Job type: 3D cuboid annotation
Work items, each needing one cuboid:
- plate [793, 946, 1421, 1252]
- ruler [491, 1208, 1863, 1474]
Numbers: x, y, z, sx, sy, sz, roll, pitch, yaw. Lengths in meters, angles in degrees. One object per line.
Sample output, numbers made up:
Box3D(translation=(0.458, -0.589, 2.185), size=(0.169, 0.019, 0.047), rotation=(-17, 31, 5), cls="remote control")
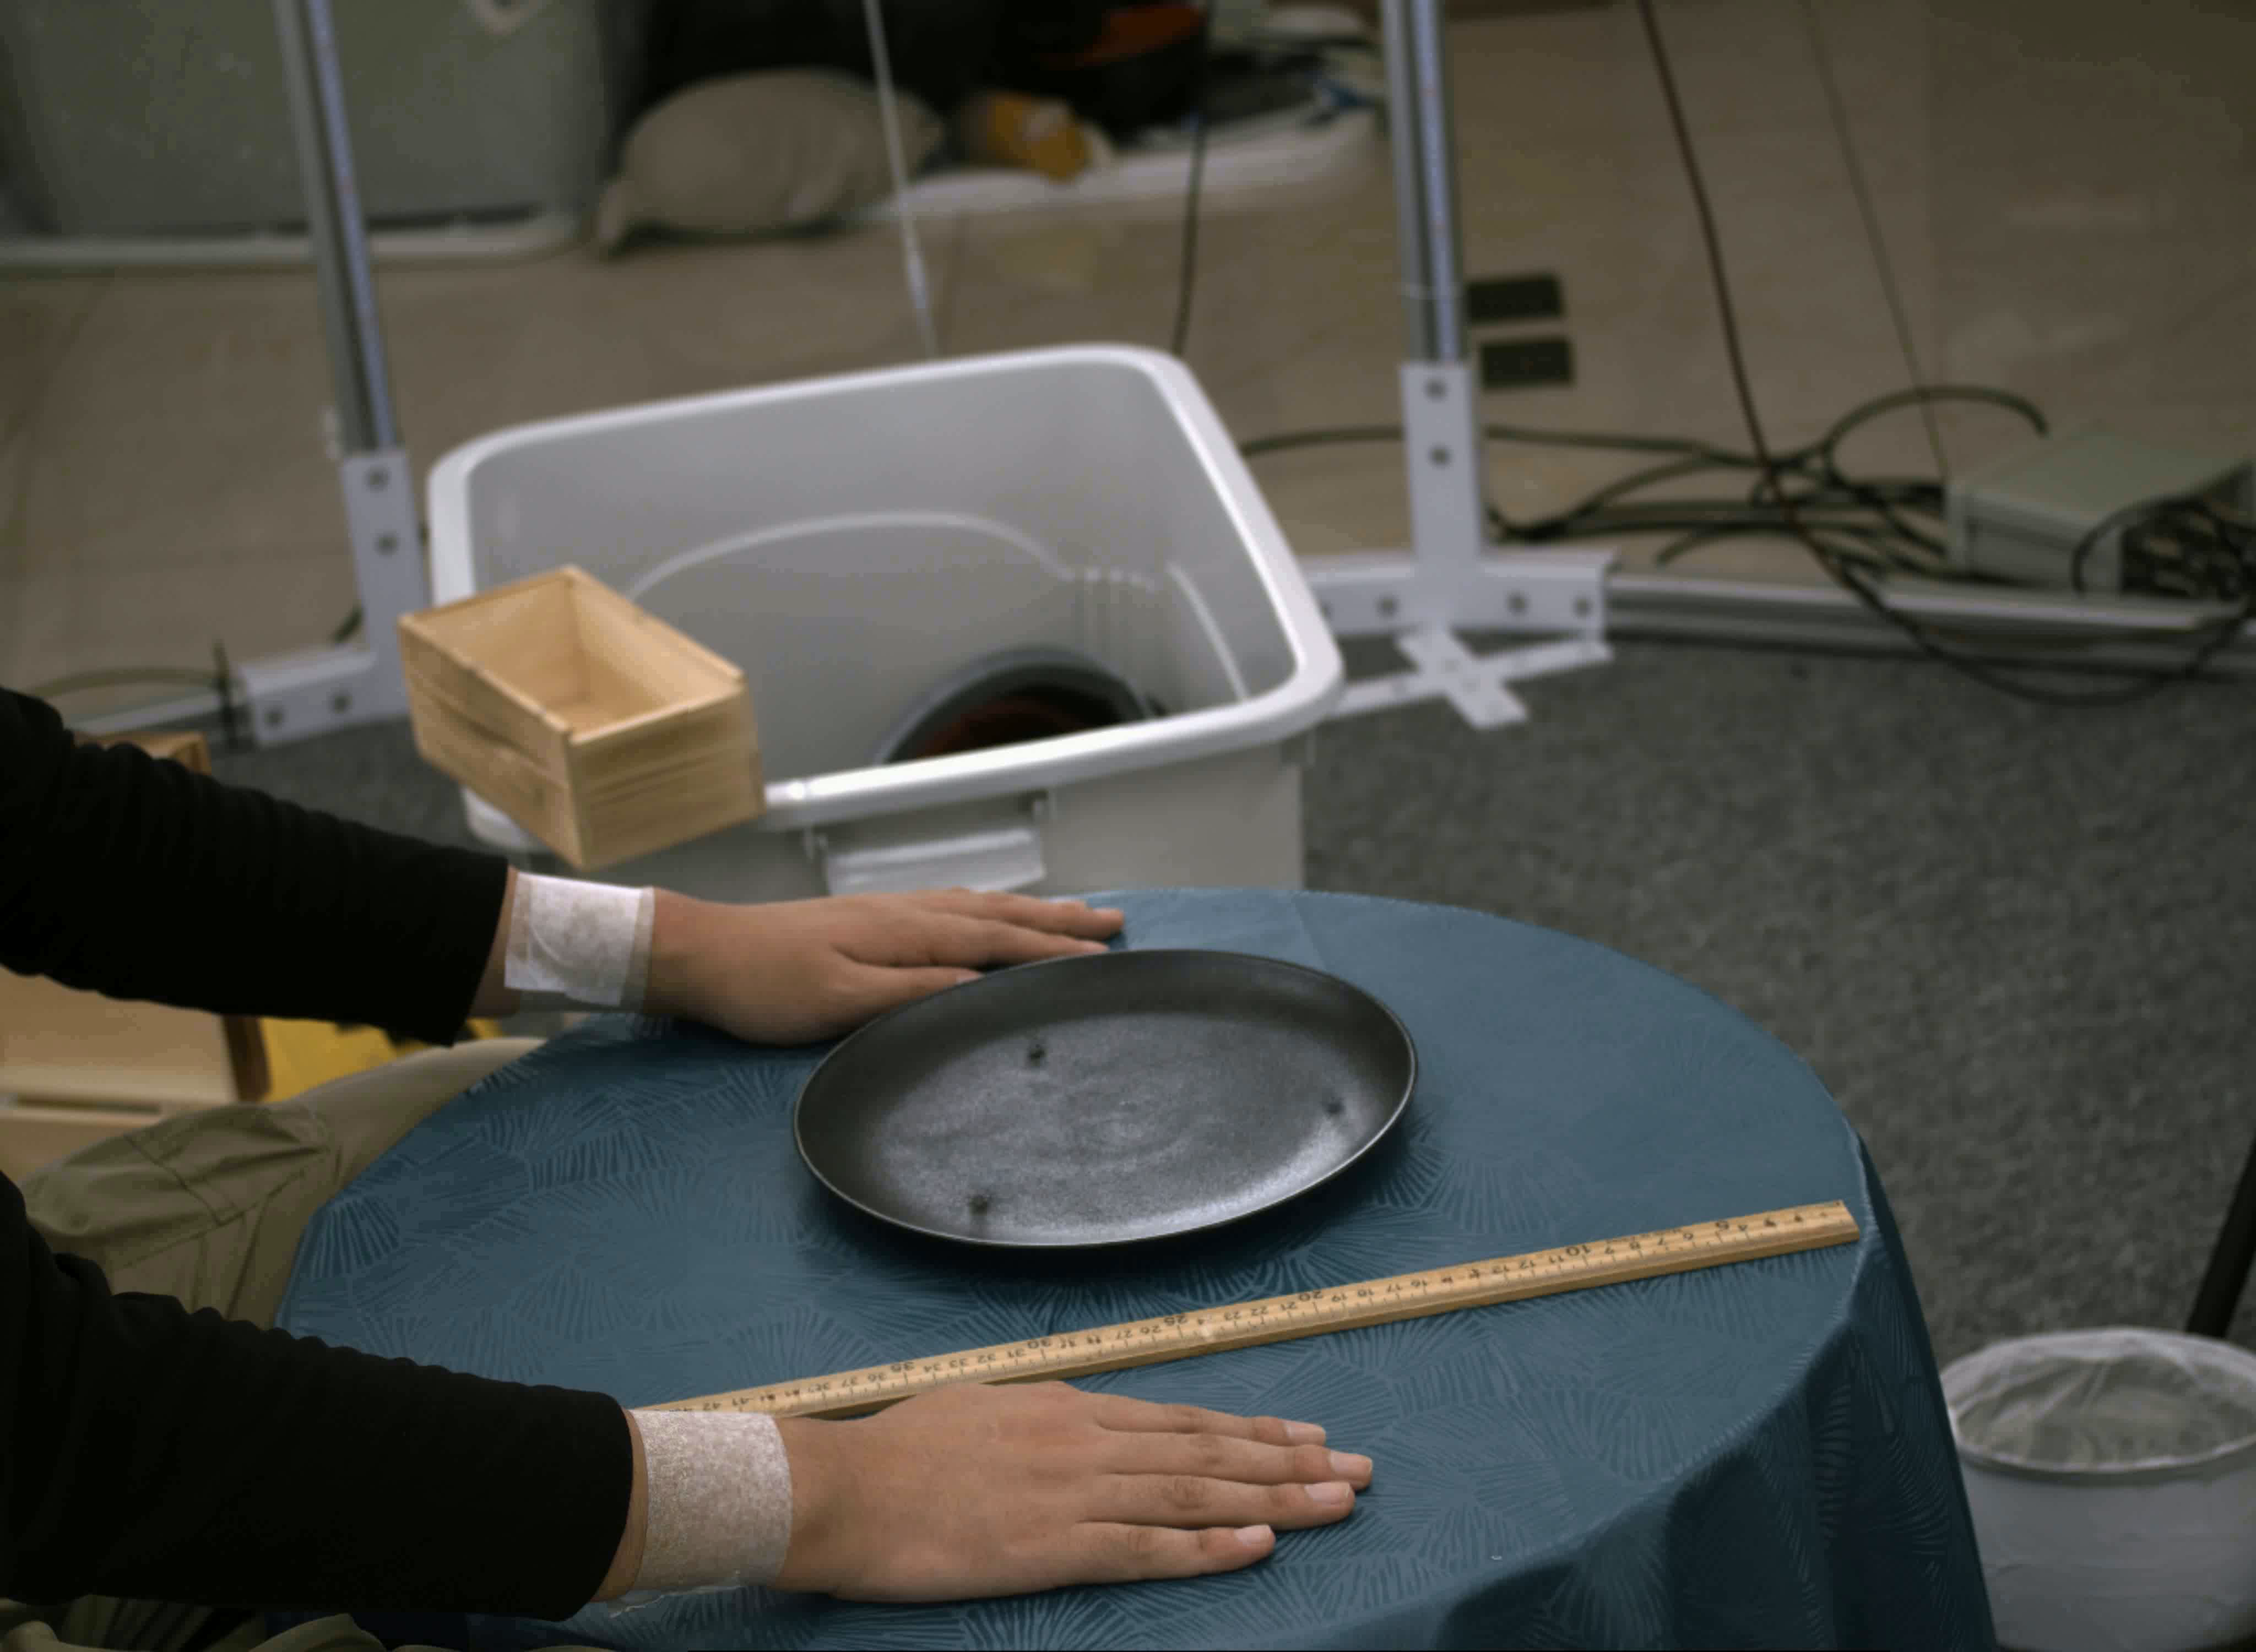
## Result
Box3D(translation=(-0.008, 0.110, 2.184), size=(0.244, 0.024, 0.241), rotation=(-5, 25, 3), cls="plate")
Box3D(translation=(0.019, 0.183, 2.042), size=(0.499, 0.006, 0.026), rotation=(-9, 23, -5), cls="ruler")
